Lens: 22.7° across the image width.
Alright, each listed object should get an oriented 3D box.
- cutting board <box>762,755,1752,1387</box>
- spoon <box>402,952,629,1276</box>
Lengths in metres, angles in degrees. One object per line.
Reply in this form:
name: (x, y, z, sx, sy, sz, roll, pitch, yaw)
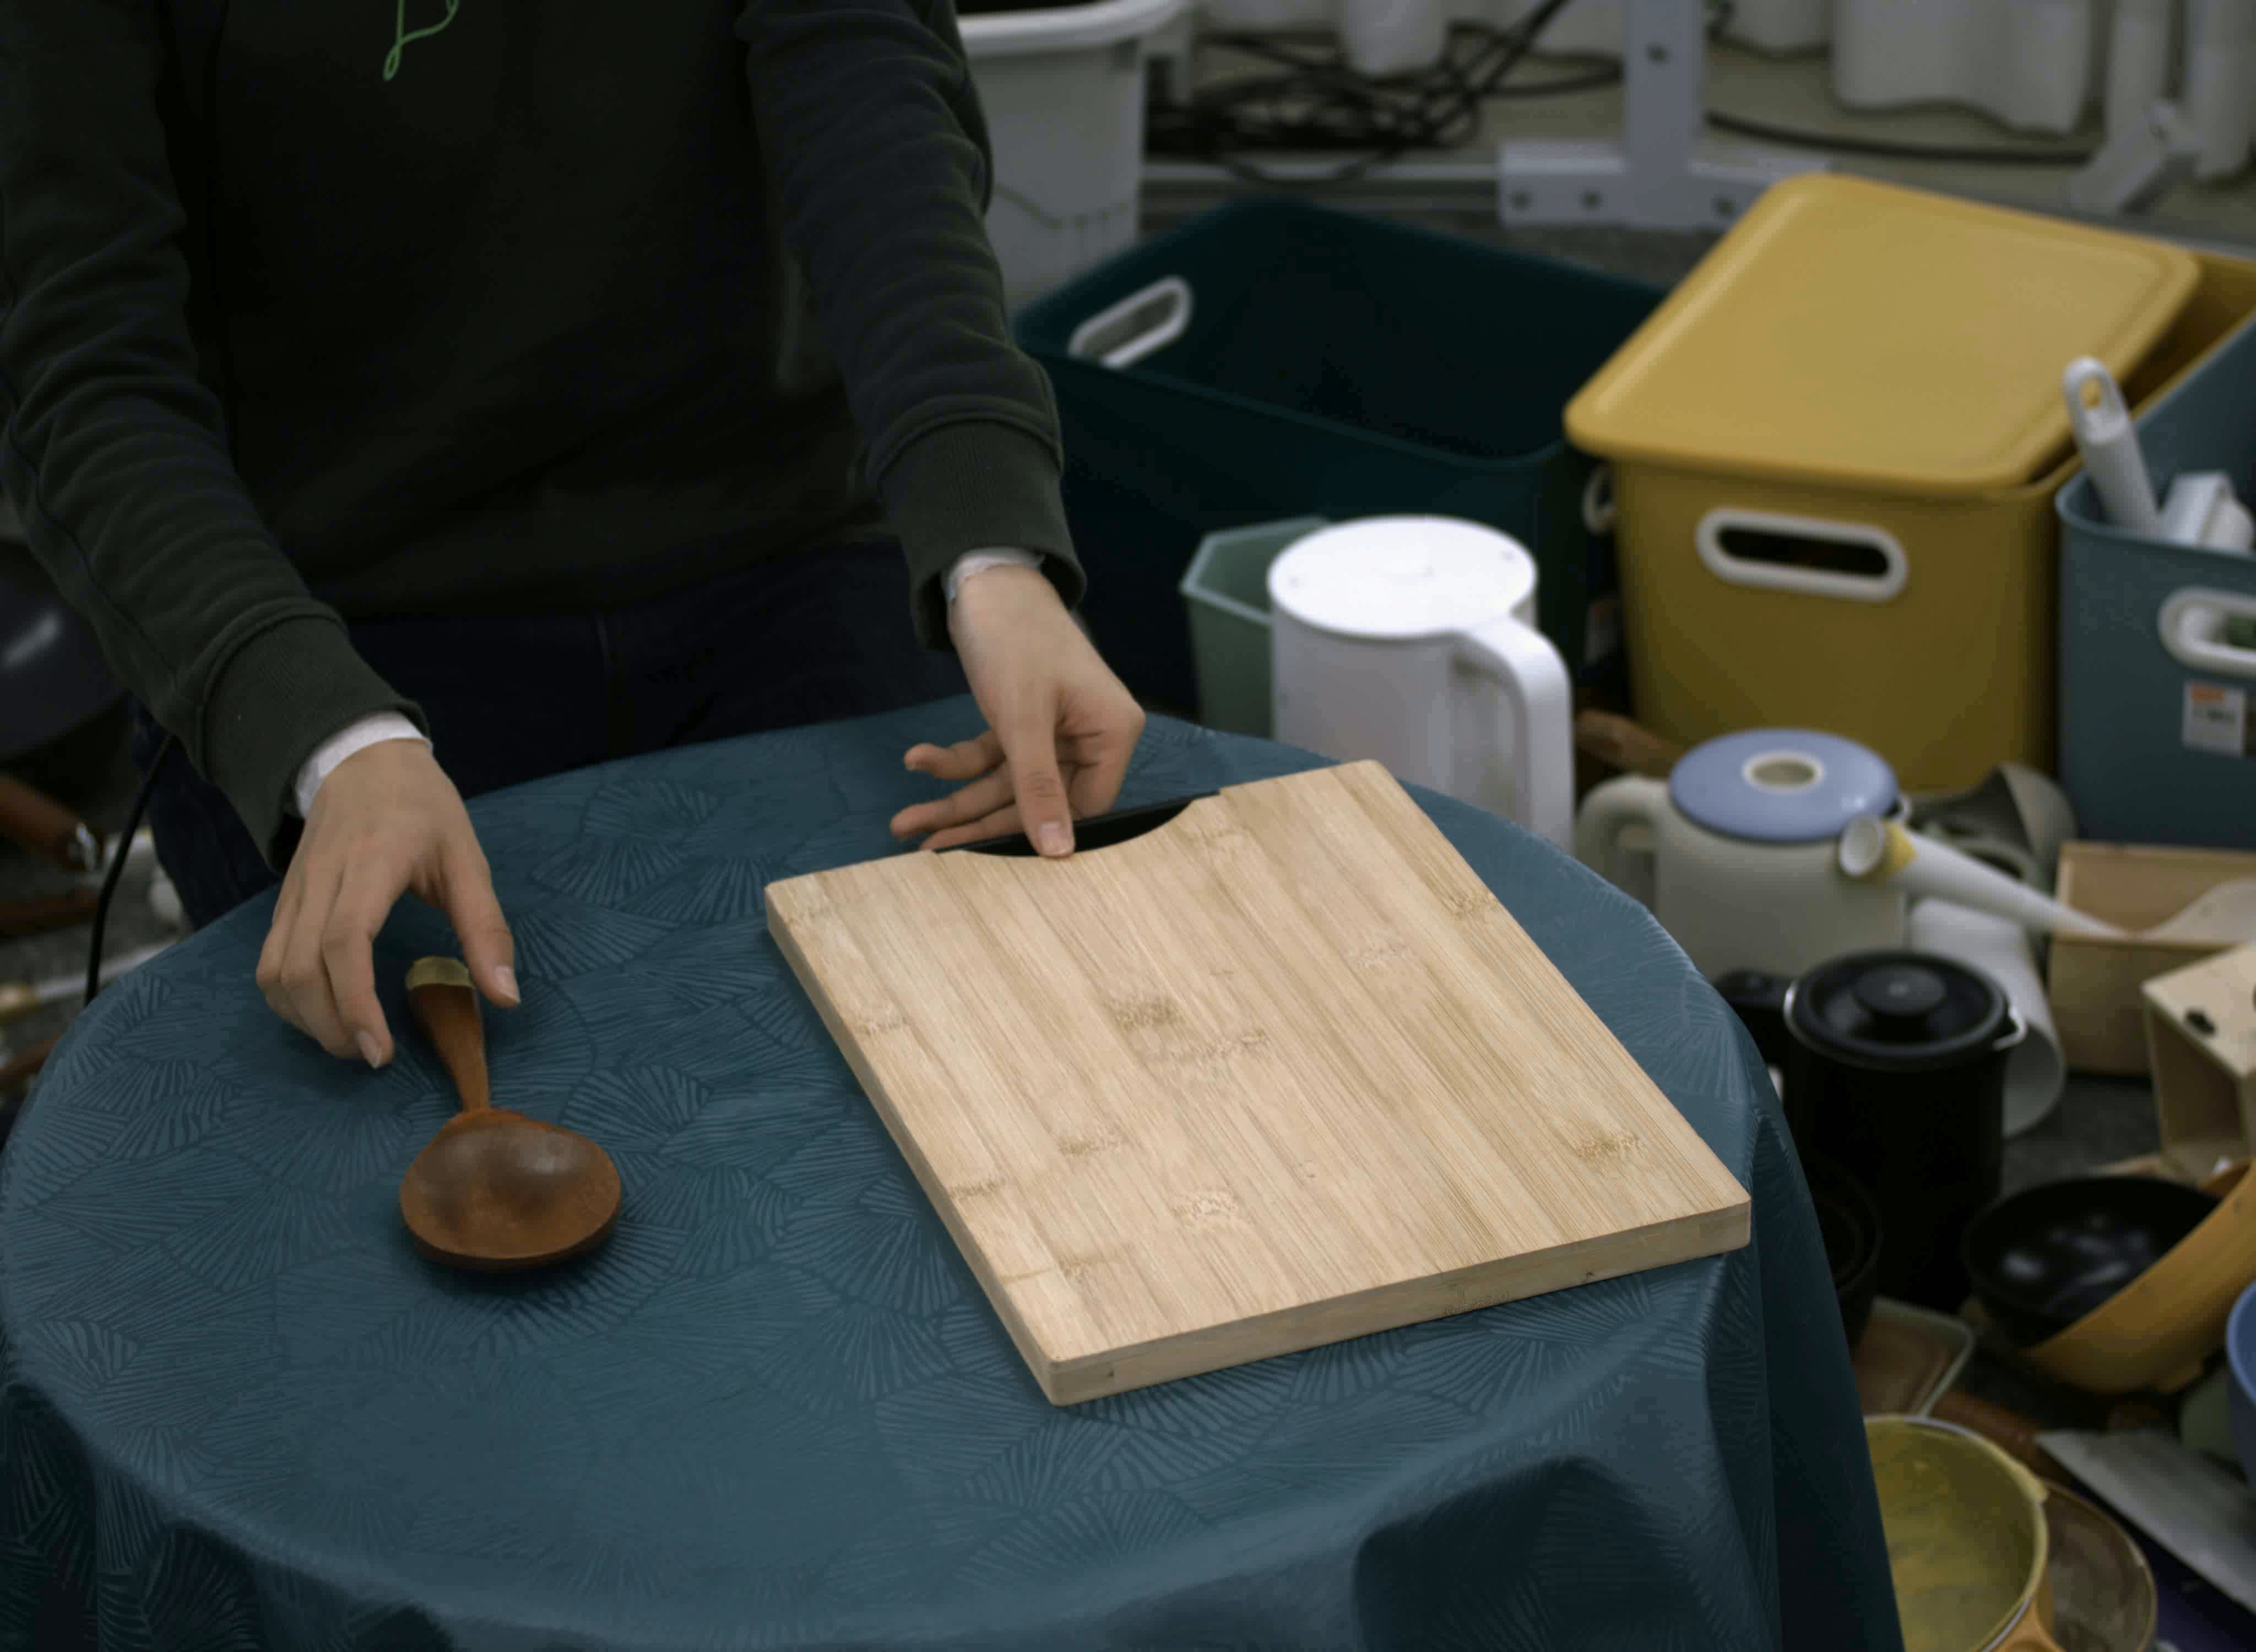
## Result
cutting board: (0.034, 0.077, 1.928, 0.251, 0.023, 0.351, -11, 28, -16)
spoon: (-0.218, 0.098, 1.909, 0.075, 0.017, 0.218, -11, 29, -11)
